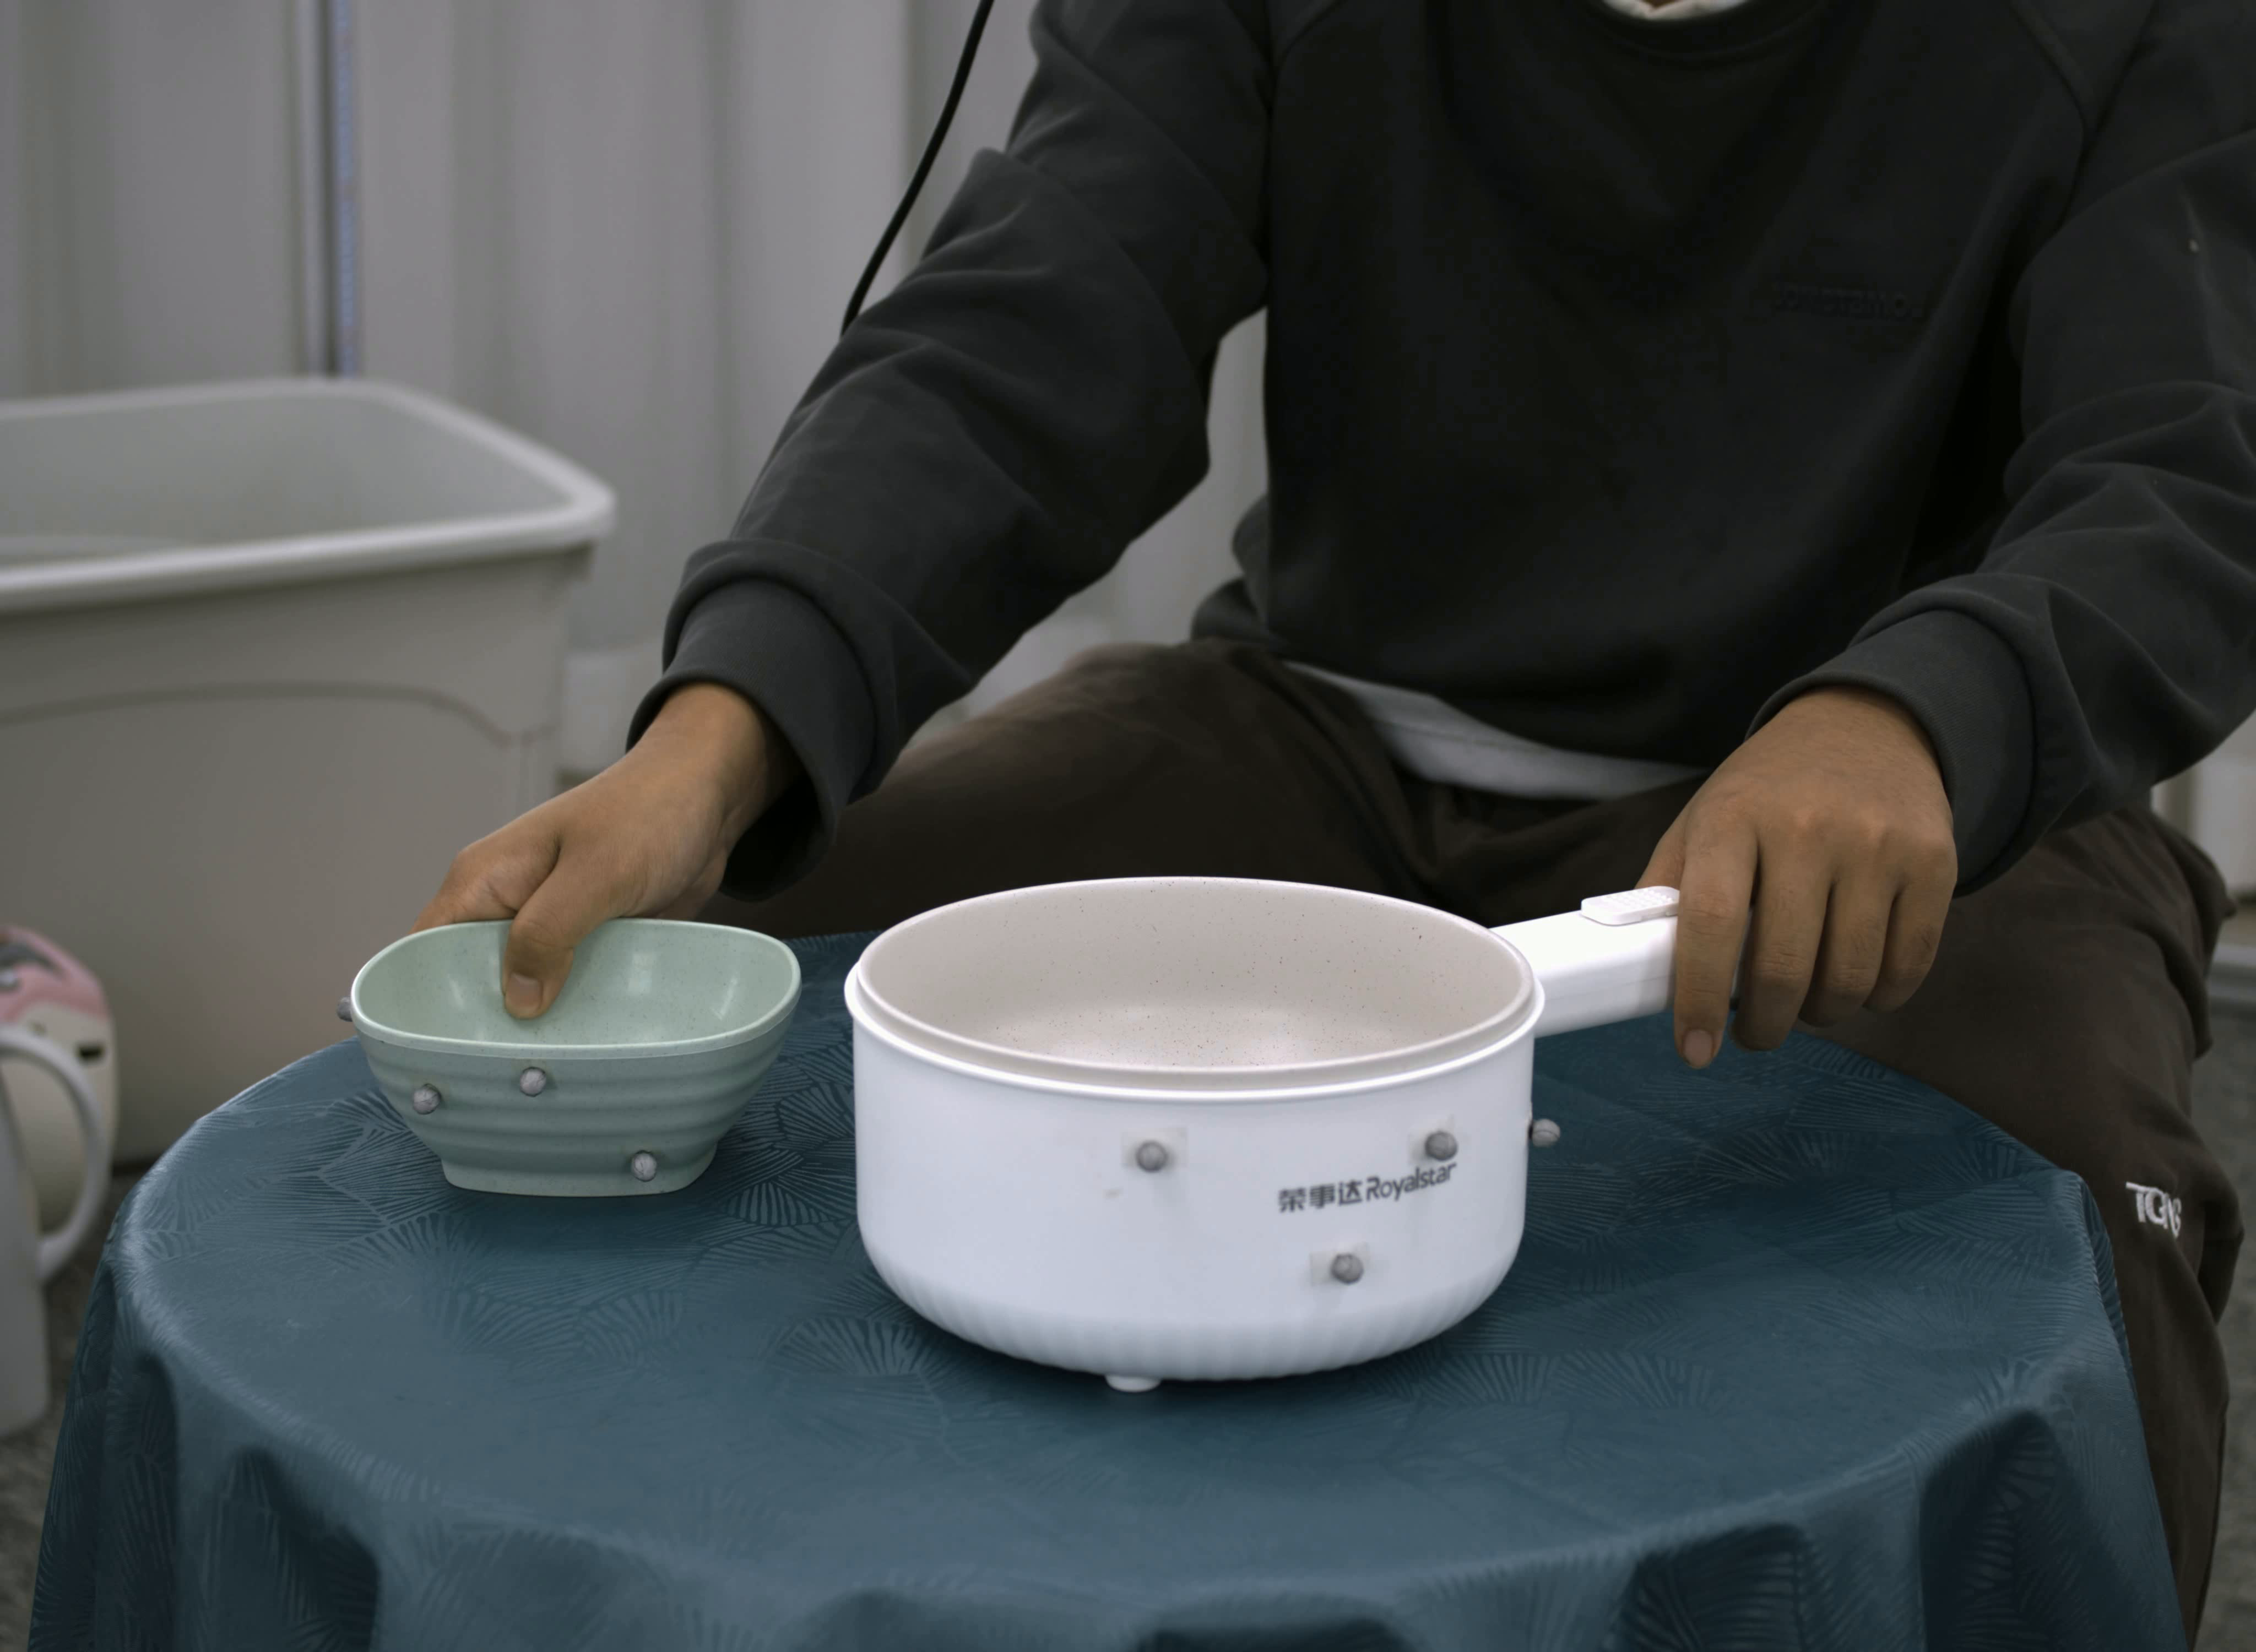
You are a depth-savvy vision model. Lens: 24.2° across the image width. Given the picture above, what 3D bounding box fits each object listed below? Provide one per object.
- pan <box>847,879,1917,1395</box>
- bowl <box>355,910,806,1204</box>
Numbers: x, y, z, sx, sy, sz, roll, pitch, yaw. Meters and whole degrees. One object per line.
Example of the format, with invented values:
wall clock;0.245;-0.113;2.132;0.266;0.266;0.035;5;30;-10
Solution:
pan;0.084;0.083;1.564;0.356;0.103;0.198;-7;16;-32
bowl;-0.170;0.075;1.645;0.151;0.059;0.150;1;18;0
